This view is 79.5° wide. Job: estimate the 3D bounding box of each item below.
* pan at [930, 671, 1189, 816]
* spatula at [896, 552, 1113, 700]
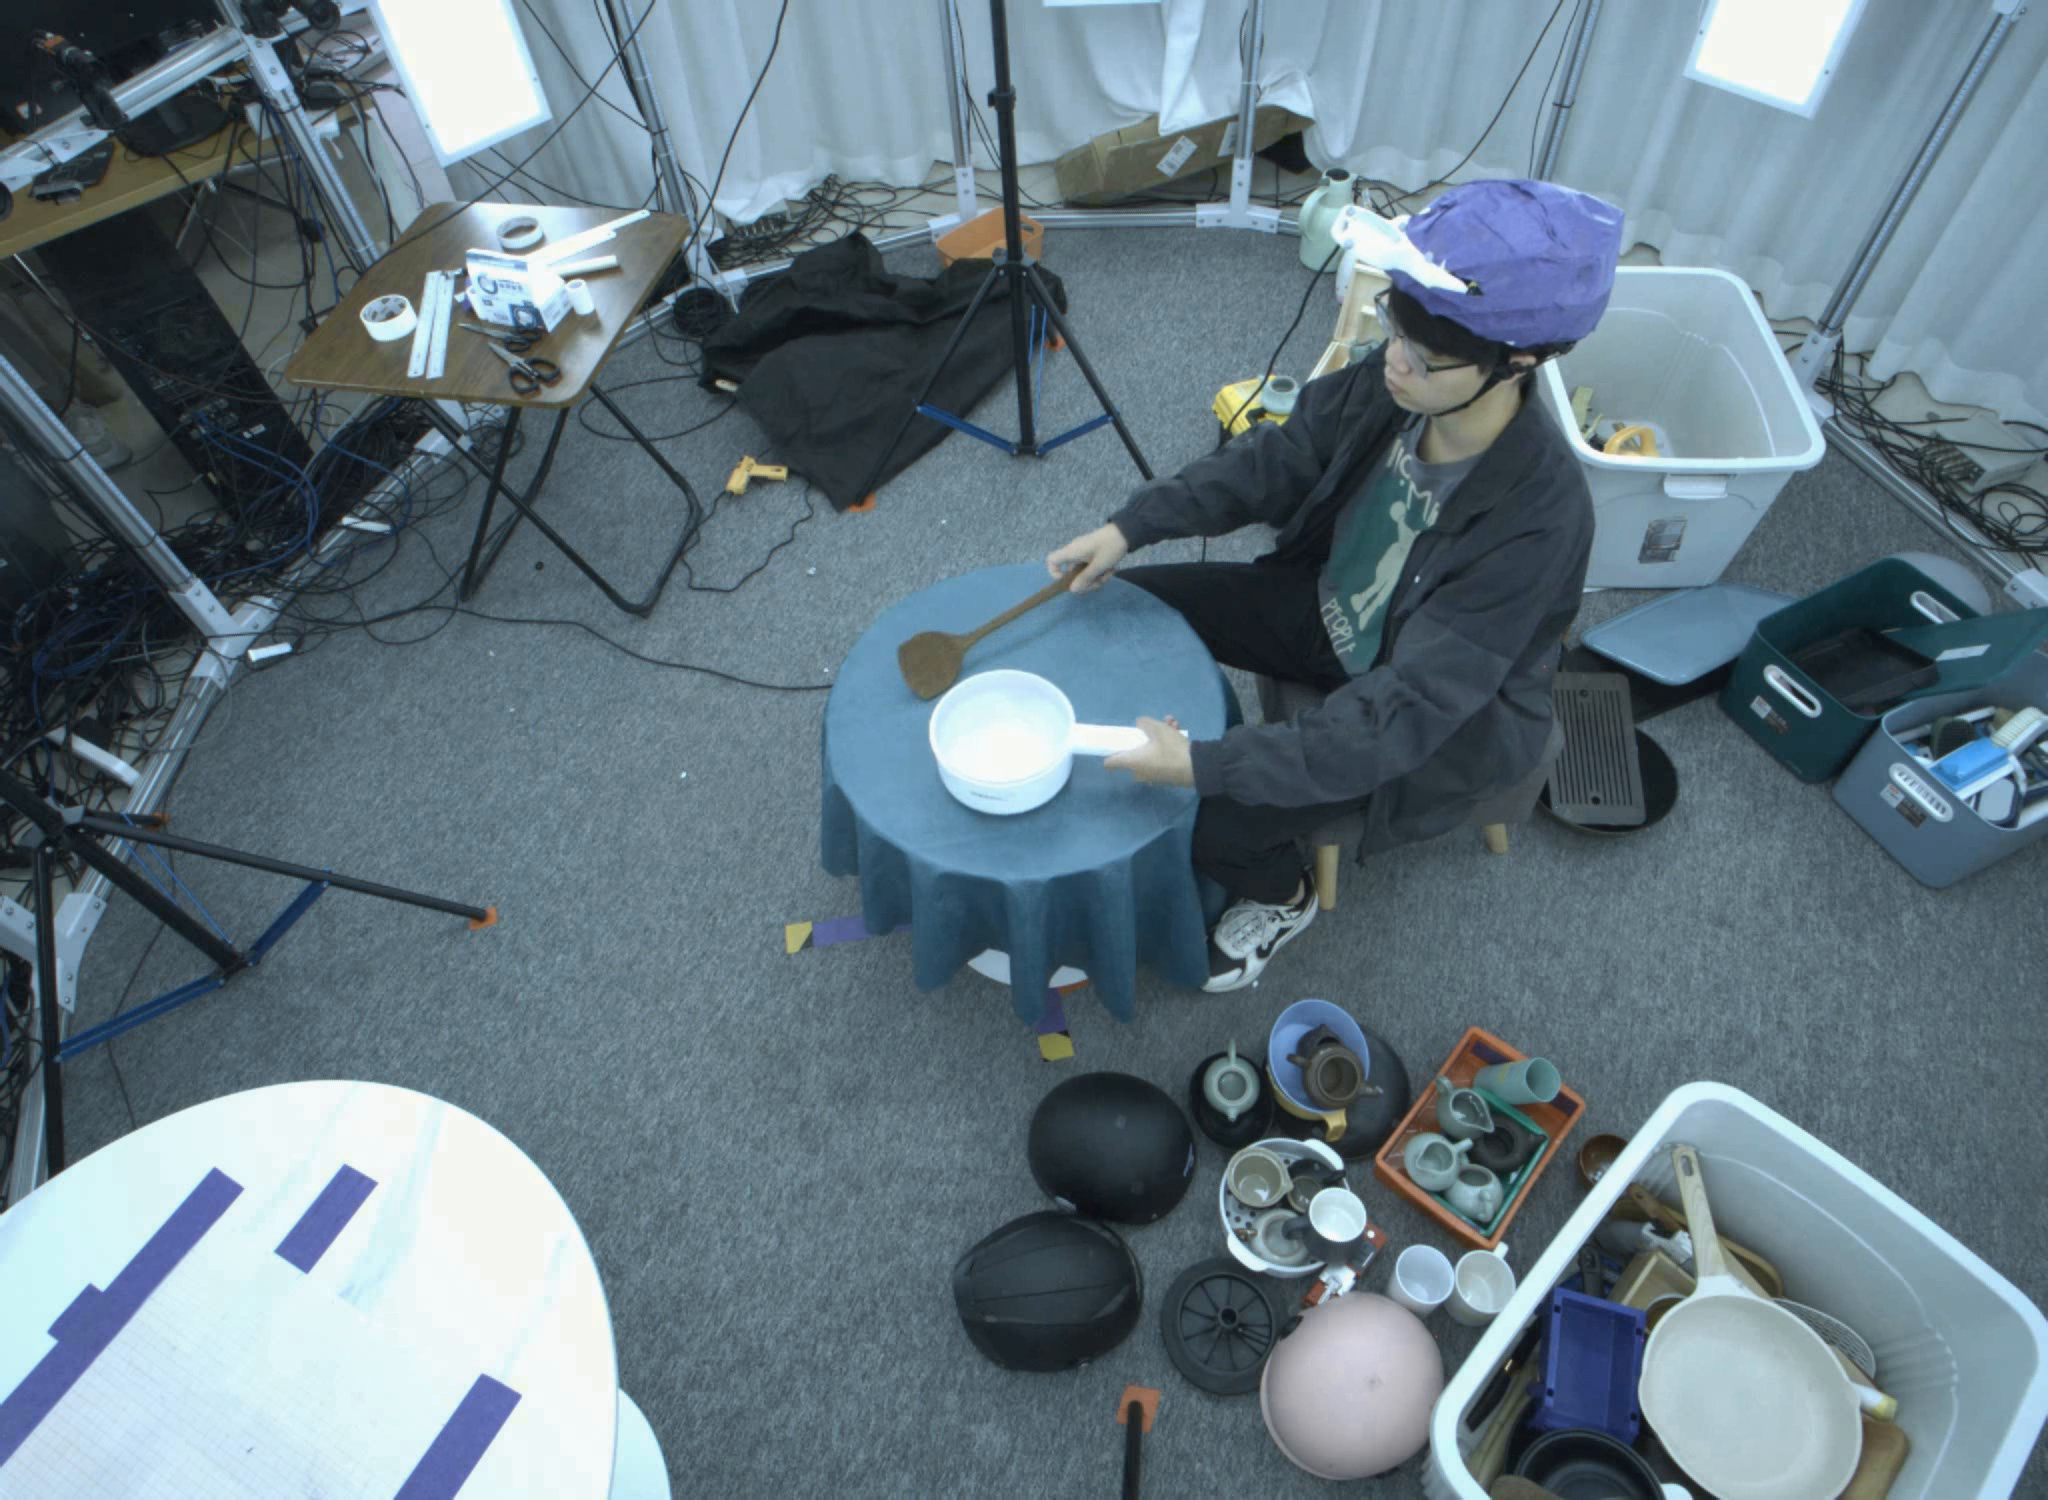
[{"bbox_3d":[0.049,0.003,1.716,0.354,0.103,0.200,6,55,4],"label":"pan"},{"bbox_3d":[-0.021,-0.205,1.871,0.388,0.097,0.015,-32,16,-15],"label":"spatula"}]
